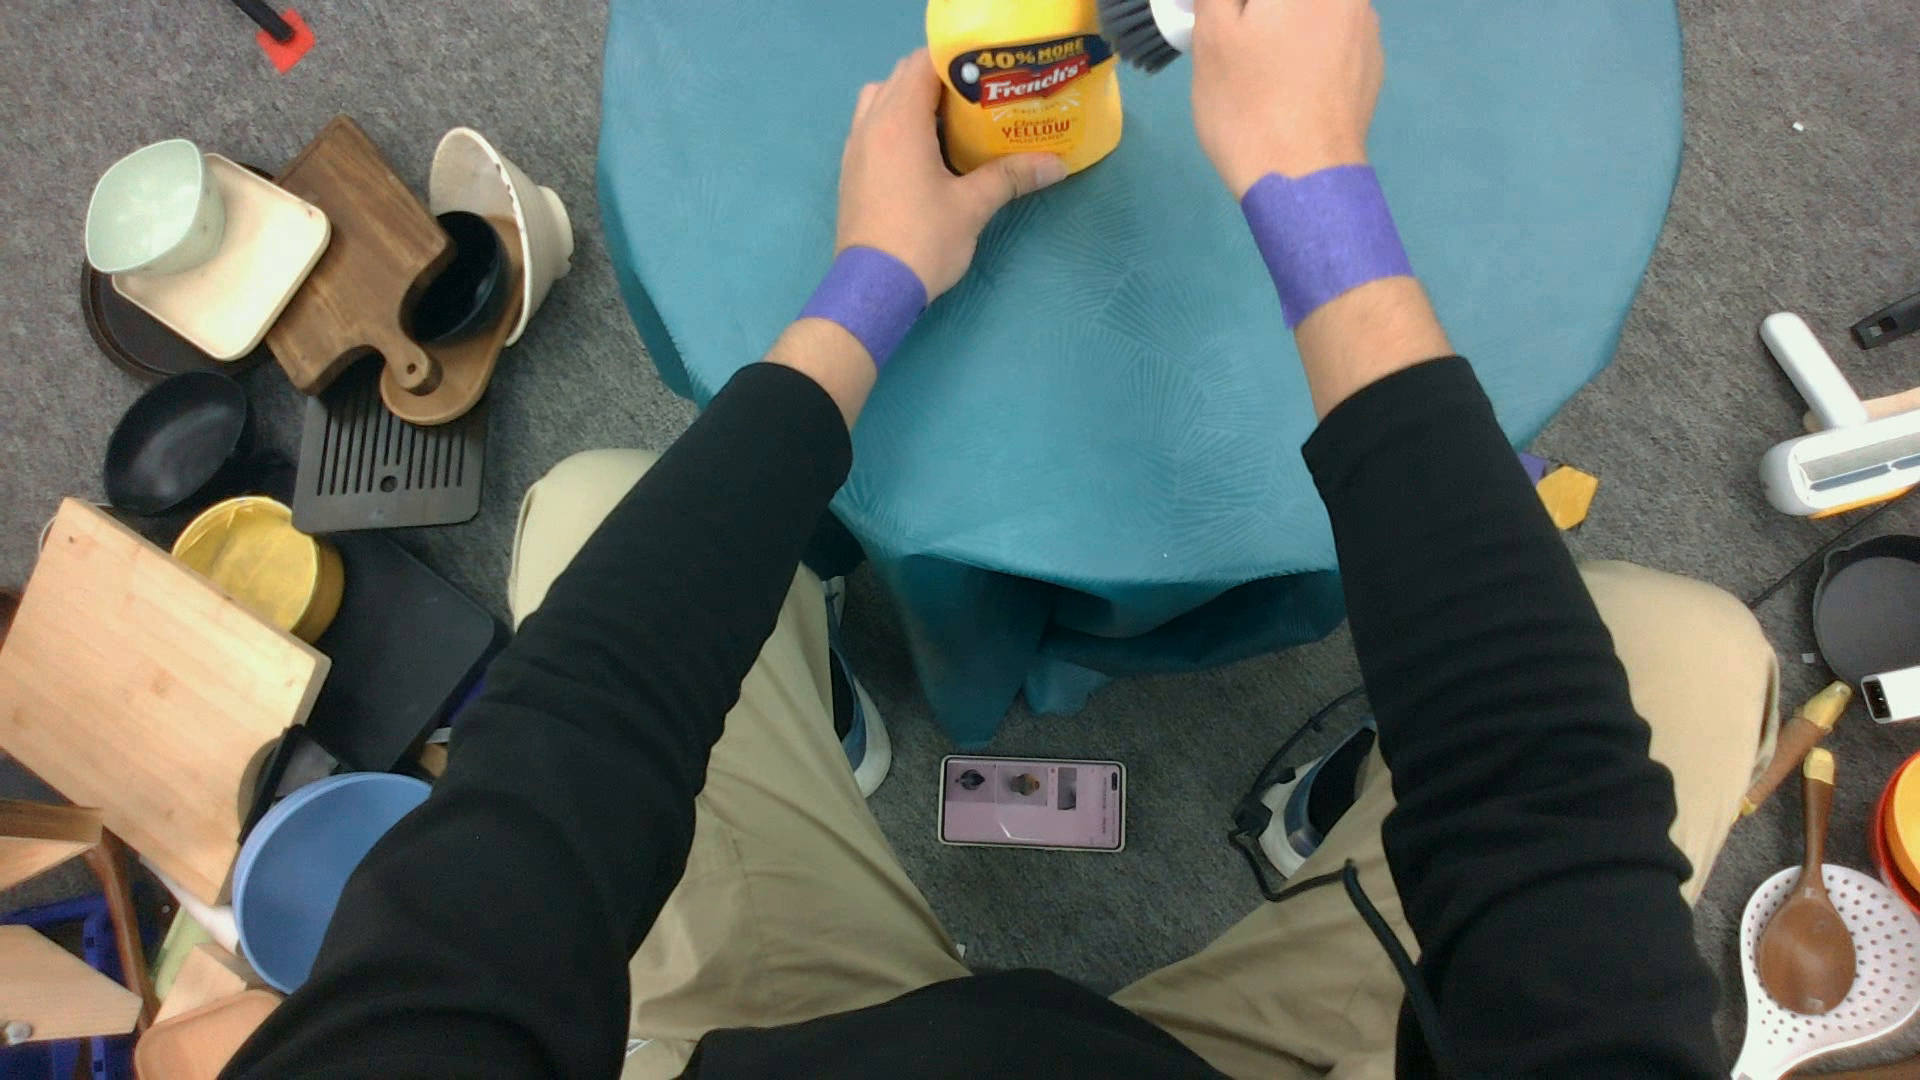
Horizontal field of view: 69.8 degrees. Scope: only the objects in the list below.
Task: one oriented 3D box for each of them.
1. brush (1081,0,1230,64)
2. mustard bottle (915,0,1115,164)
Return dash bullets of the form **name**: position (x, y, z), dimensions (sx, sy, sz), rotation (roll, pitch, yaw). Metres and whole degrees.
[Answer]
- **brush**: position (0.094, -0.266, 0.598), dimensions (0.072, 0.050, 0.099), rotation (-6, 78, 45)
- **mustard bottle**: position (0.029, -0.247, 0.683), dimensions (0.098, 0.172, 0.059), rotation (-11, 82, 0)
